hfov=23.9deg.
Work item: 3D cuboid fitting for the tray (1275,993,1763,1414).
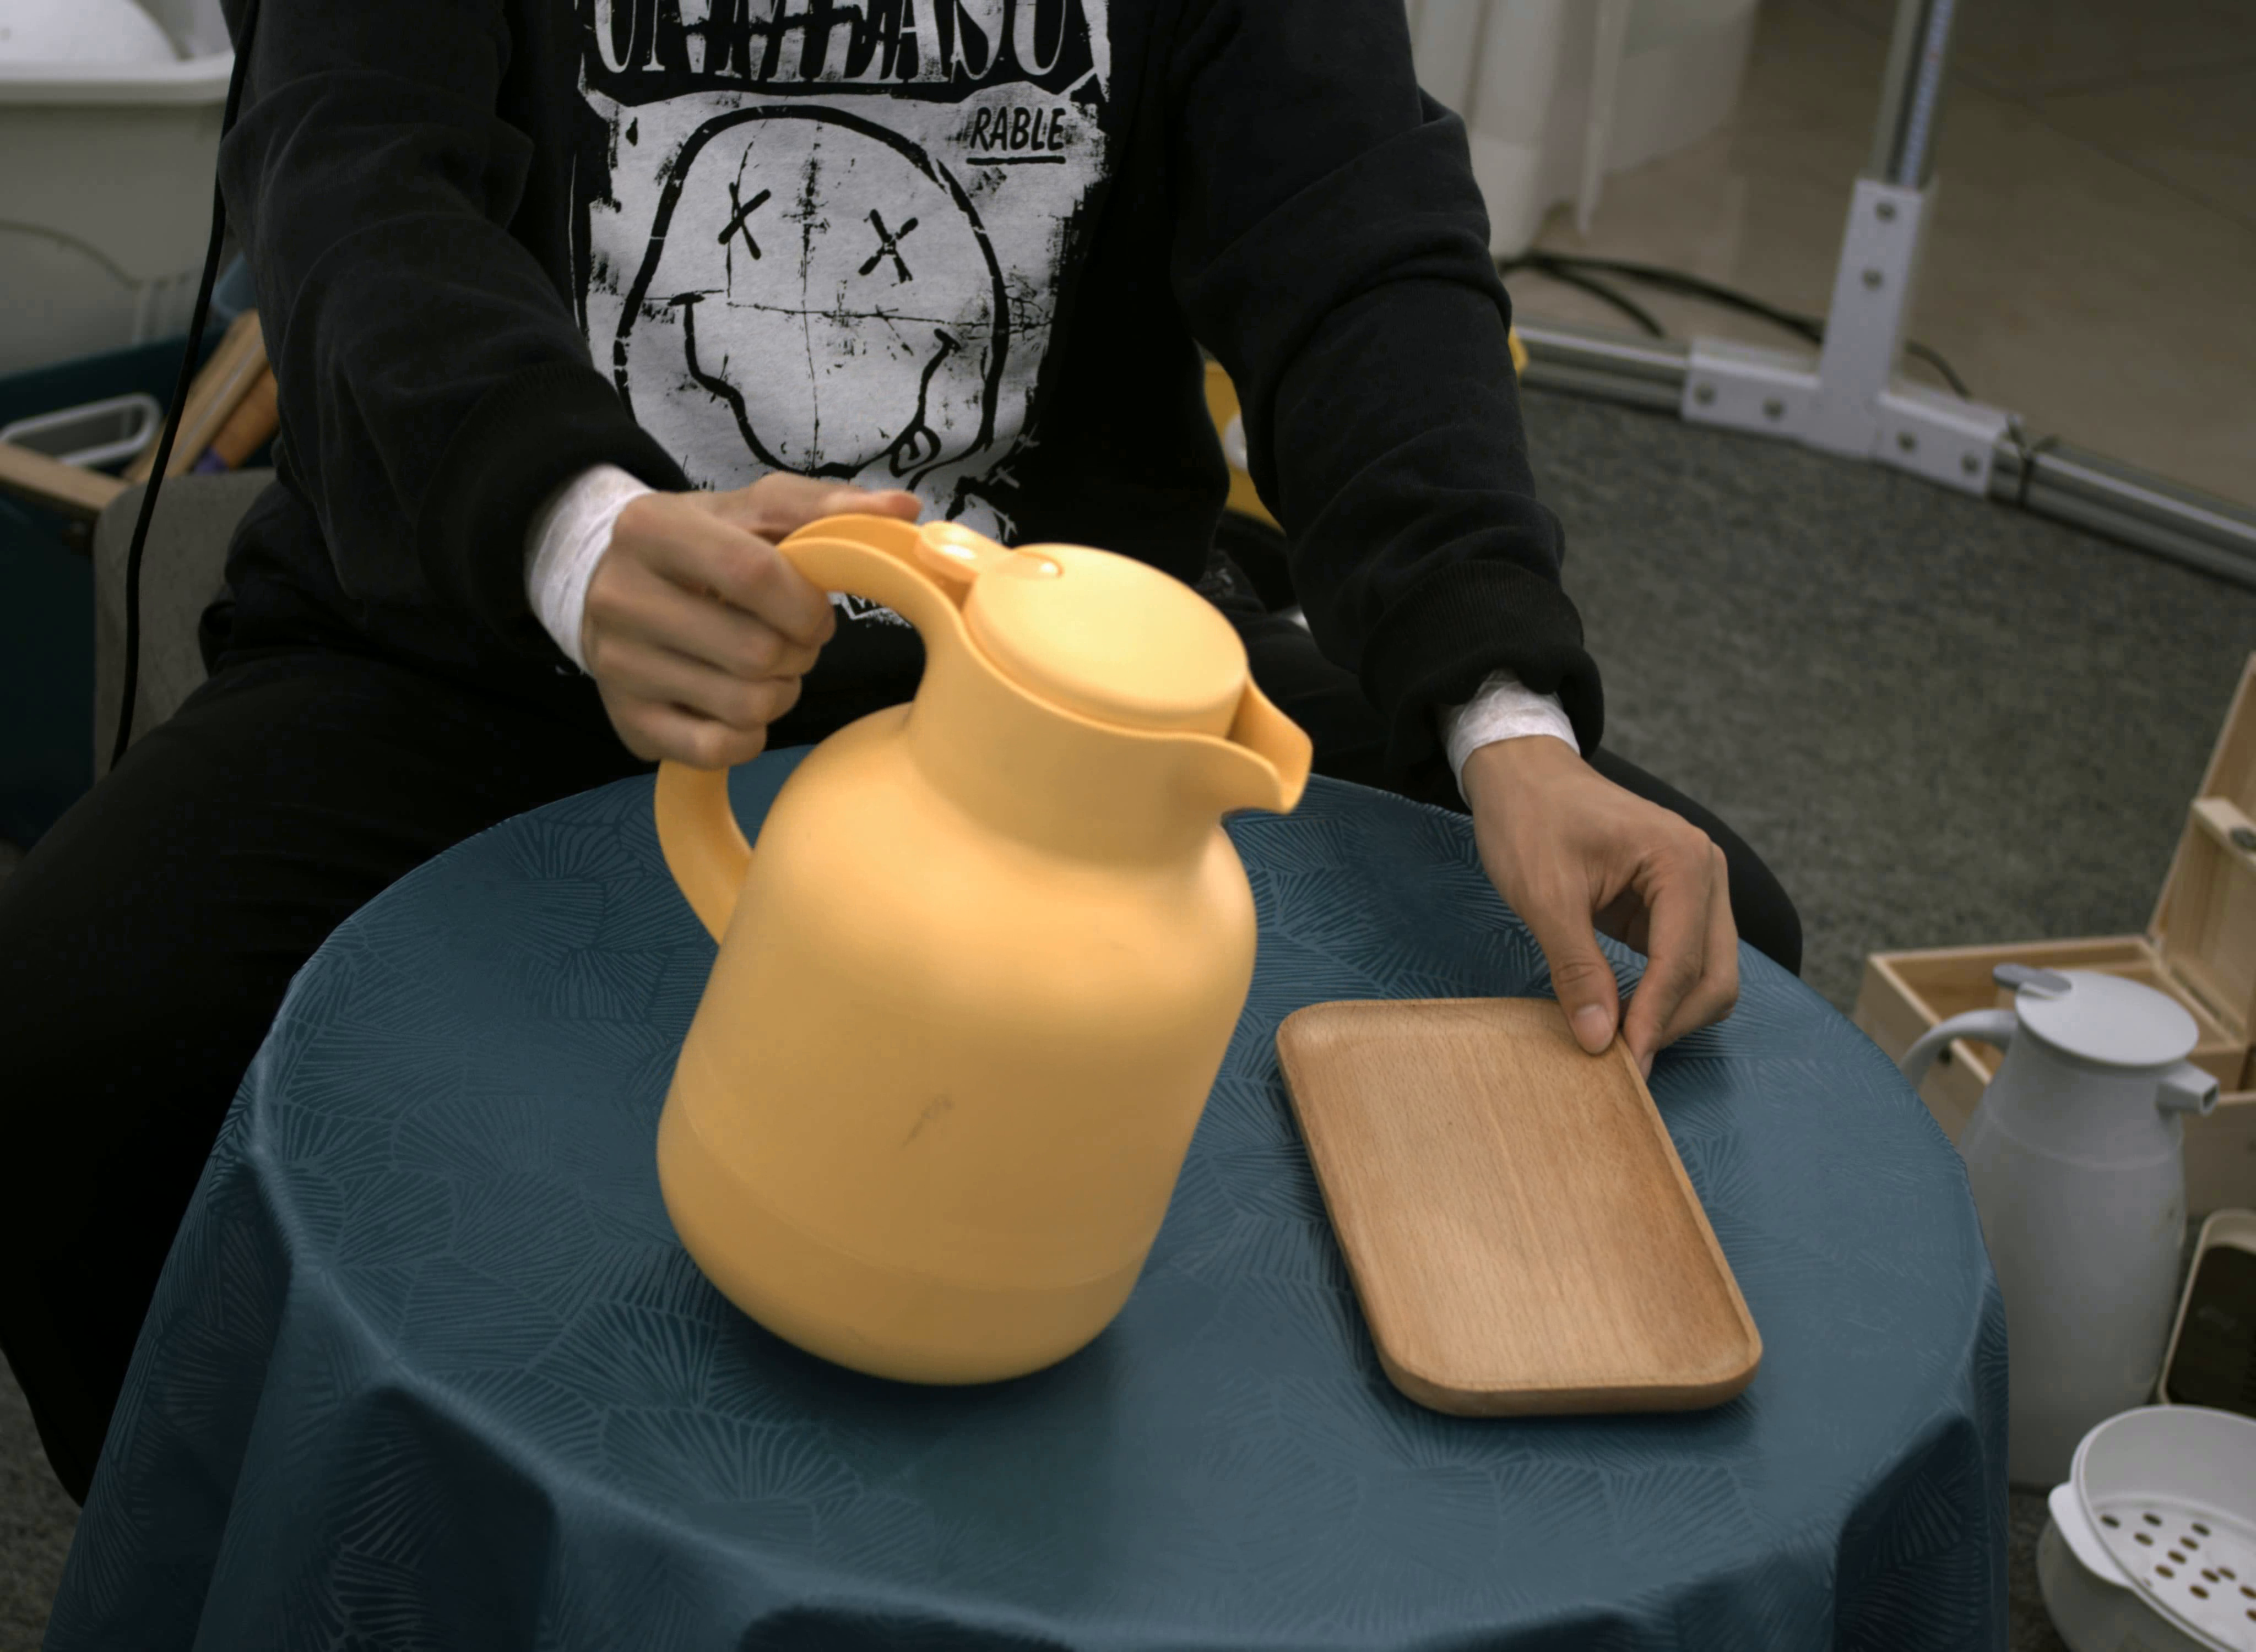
[{"bbox_3d":[0.129,0.125,1.806,0.130,0.023,0.252,1,27,-9],"label":"tray"}]

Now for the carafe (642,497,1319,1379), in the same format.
[{"bbox_3d":[-0.060,0.025,1.668,0.203,0.260,0.163,32,28,15],"label":"carafe"}]
